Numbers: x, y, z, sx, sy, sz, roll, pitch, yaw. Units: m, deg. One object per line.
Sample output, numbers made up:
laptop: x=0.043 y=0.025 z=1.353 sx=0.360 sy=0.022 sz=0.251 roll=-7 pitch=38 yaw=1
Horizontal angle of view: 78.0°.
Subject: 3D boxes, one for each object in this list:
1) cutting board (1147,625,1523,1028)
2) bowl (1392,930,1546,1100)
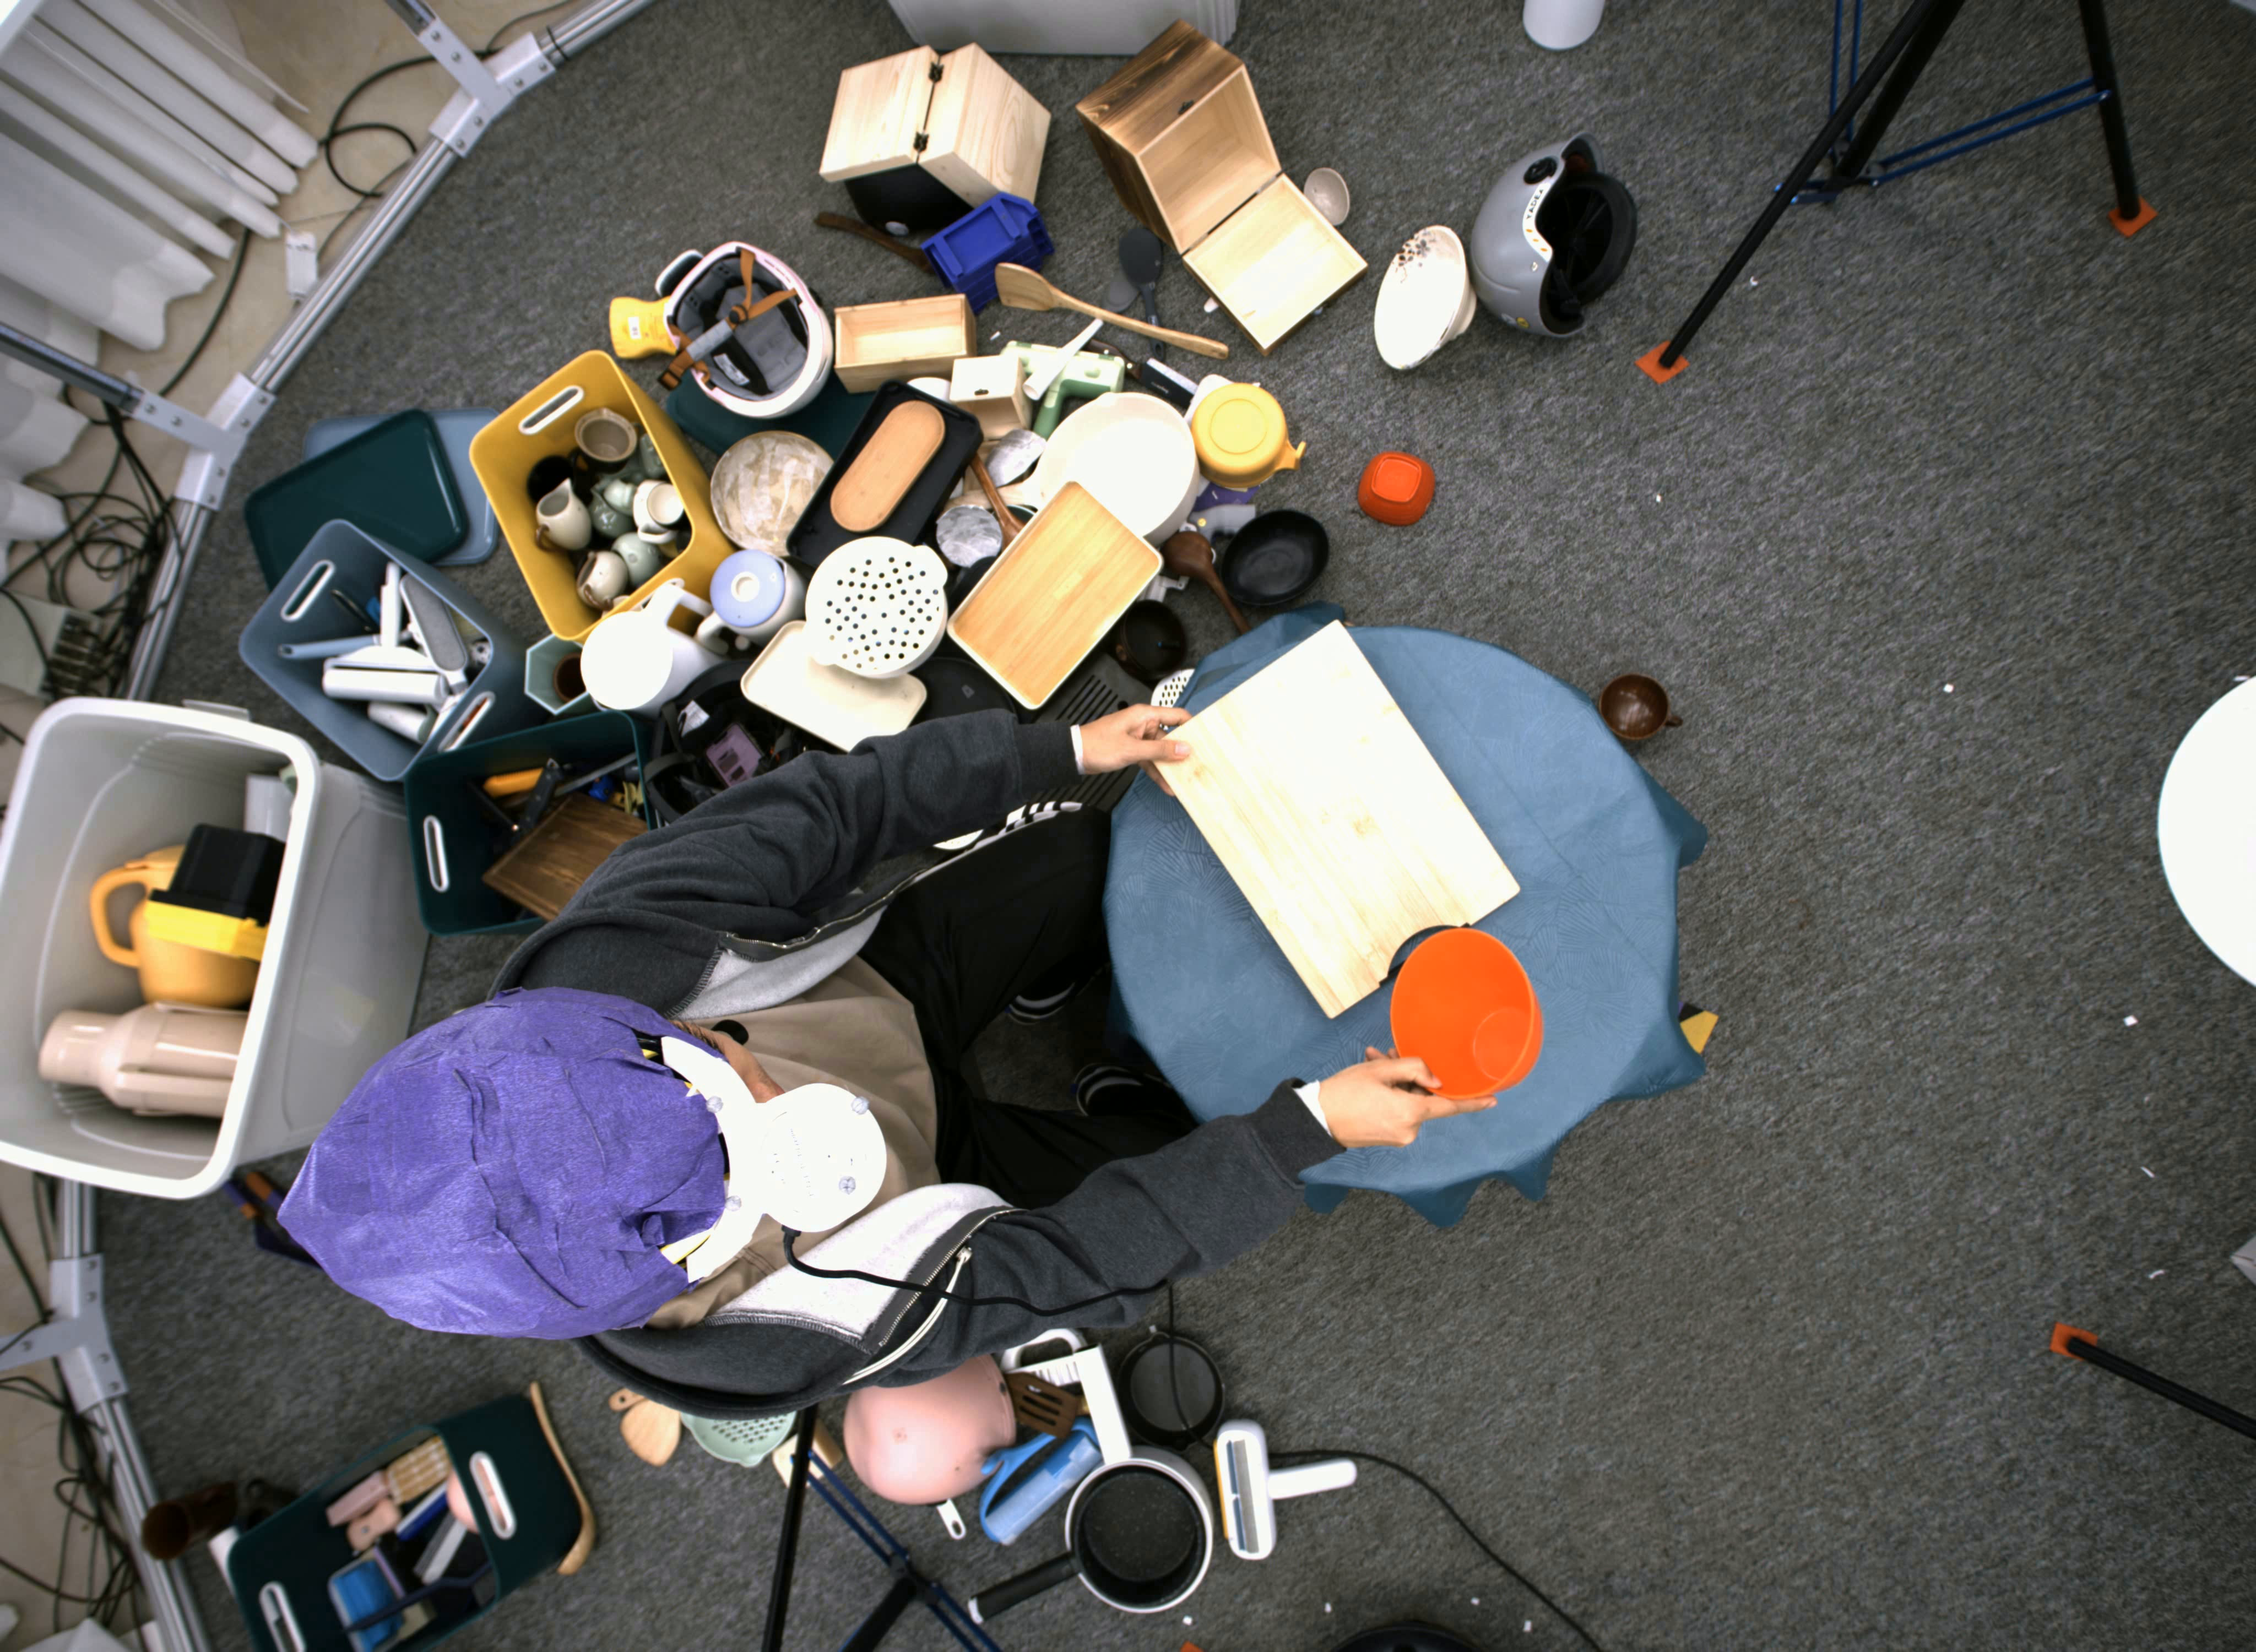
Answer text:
cutting board: x=0.214 y=-0.002 z=1.427 sx=0.252 sy=0.023 sz=0.349 roll=-35 pitch=93 yaw=5
bowl: x=0.322 y=0.177 z=1.242 sx=0.150 sy=0.105 sz=0.145 roll=-20 pitch=60 yaw=38
